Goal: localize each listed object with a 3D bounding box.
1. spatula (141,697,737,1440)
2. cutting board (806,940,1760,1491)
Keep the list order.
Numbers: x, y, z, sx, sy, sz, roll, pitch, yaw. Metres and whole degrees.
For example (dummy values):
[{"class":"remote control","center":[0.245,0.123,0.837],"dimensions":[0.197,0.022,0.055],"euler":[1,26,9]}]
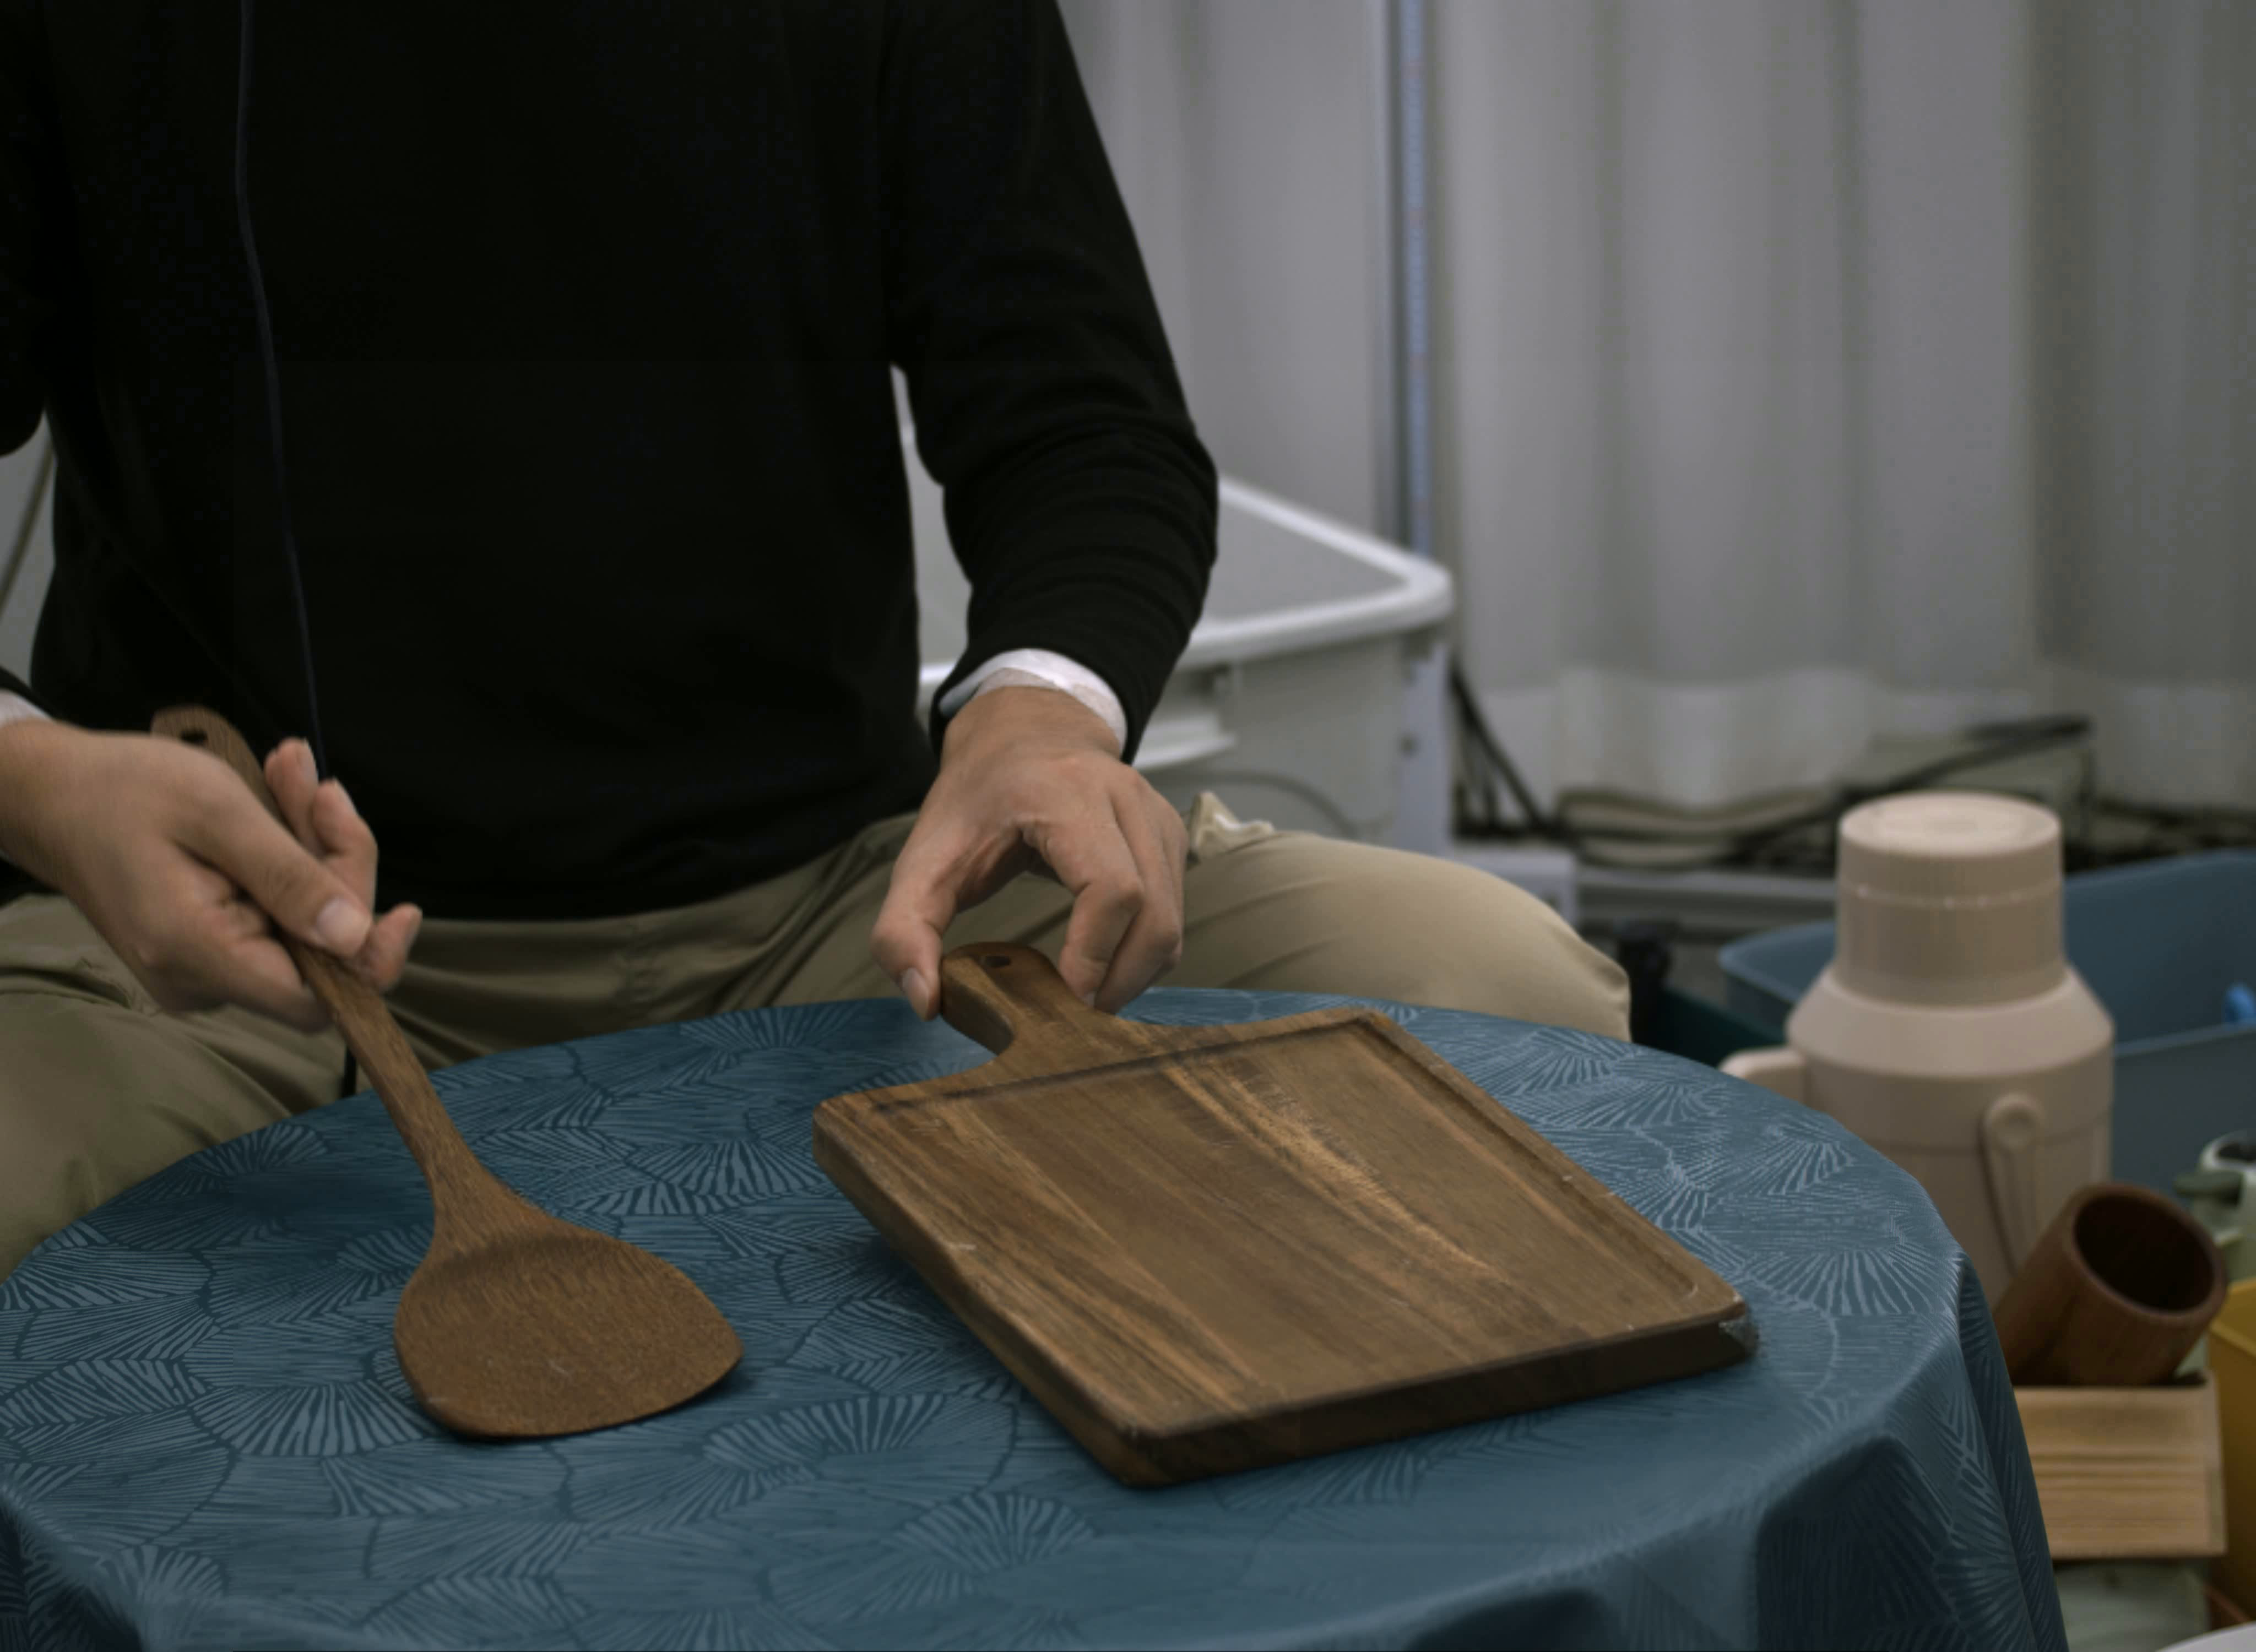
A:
[{"class":"spatula","center":[-0.232,0.063,1.679],"dimensions":[0.096,0.015,0.391],"euler":[-12,39,-24]},{"class":"cutting board","center":[0.020,0.102,1.650],"dimensions":[0.200,0.023,0.356],"euler":[-9,22,-22]}]
